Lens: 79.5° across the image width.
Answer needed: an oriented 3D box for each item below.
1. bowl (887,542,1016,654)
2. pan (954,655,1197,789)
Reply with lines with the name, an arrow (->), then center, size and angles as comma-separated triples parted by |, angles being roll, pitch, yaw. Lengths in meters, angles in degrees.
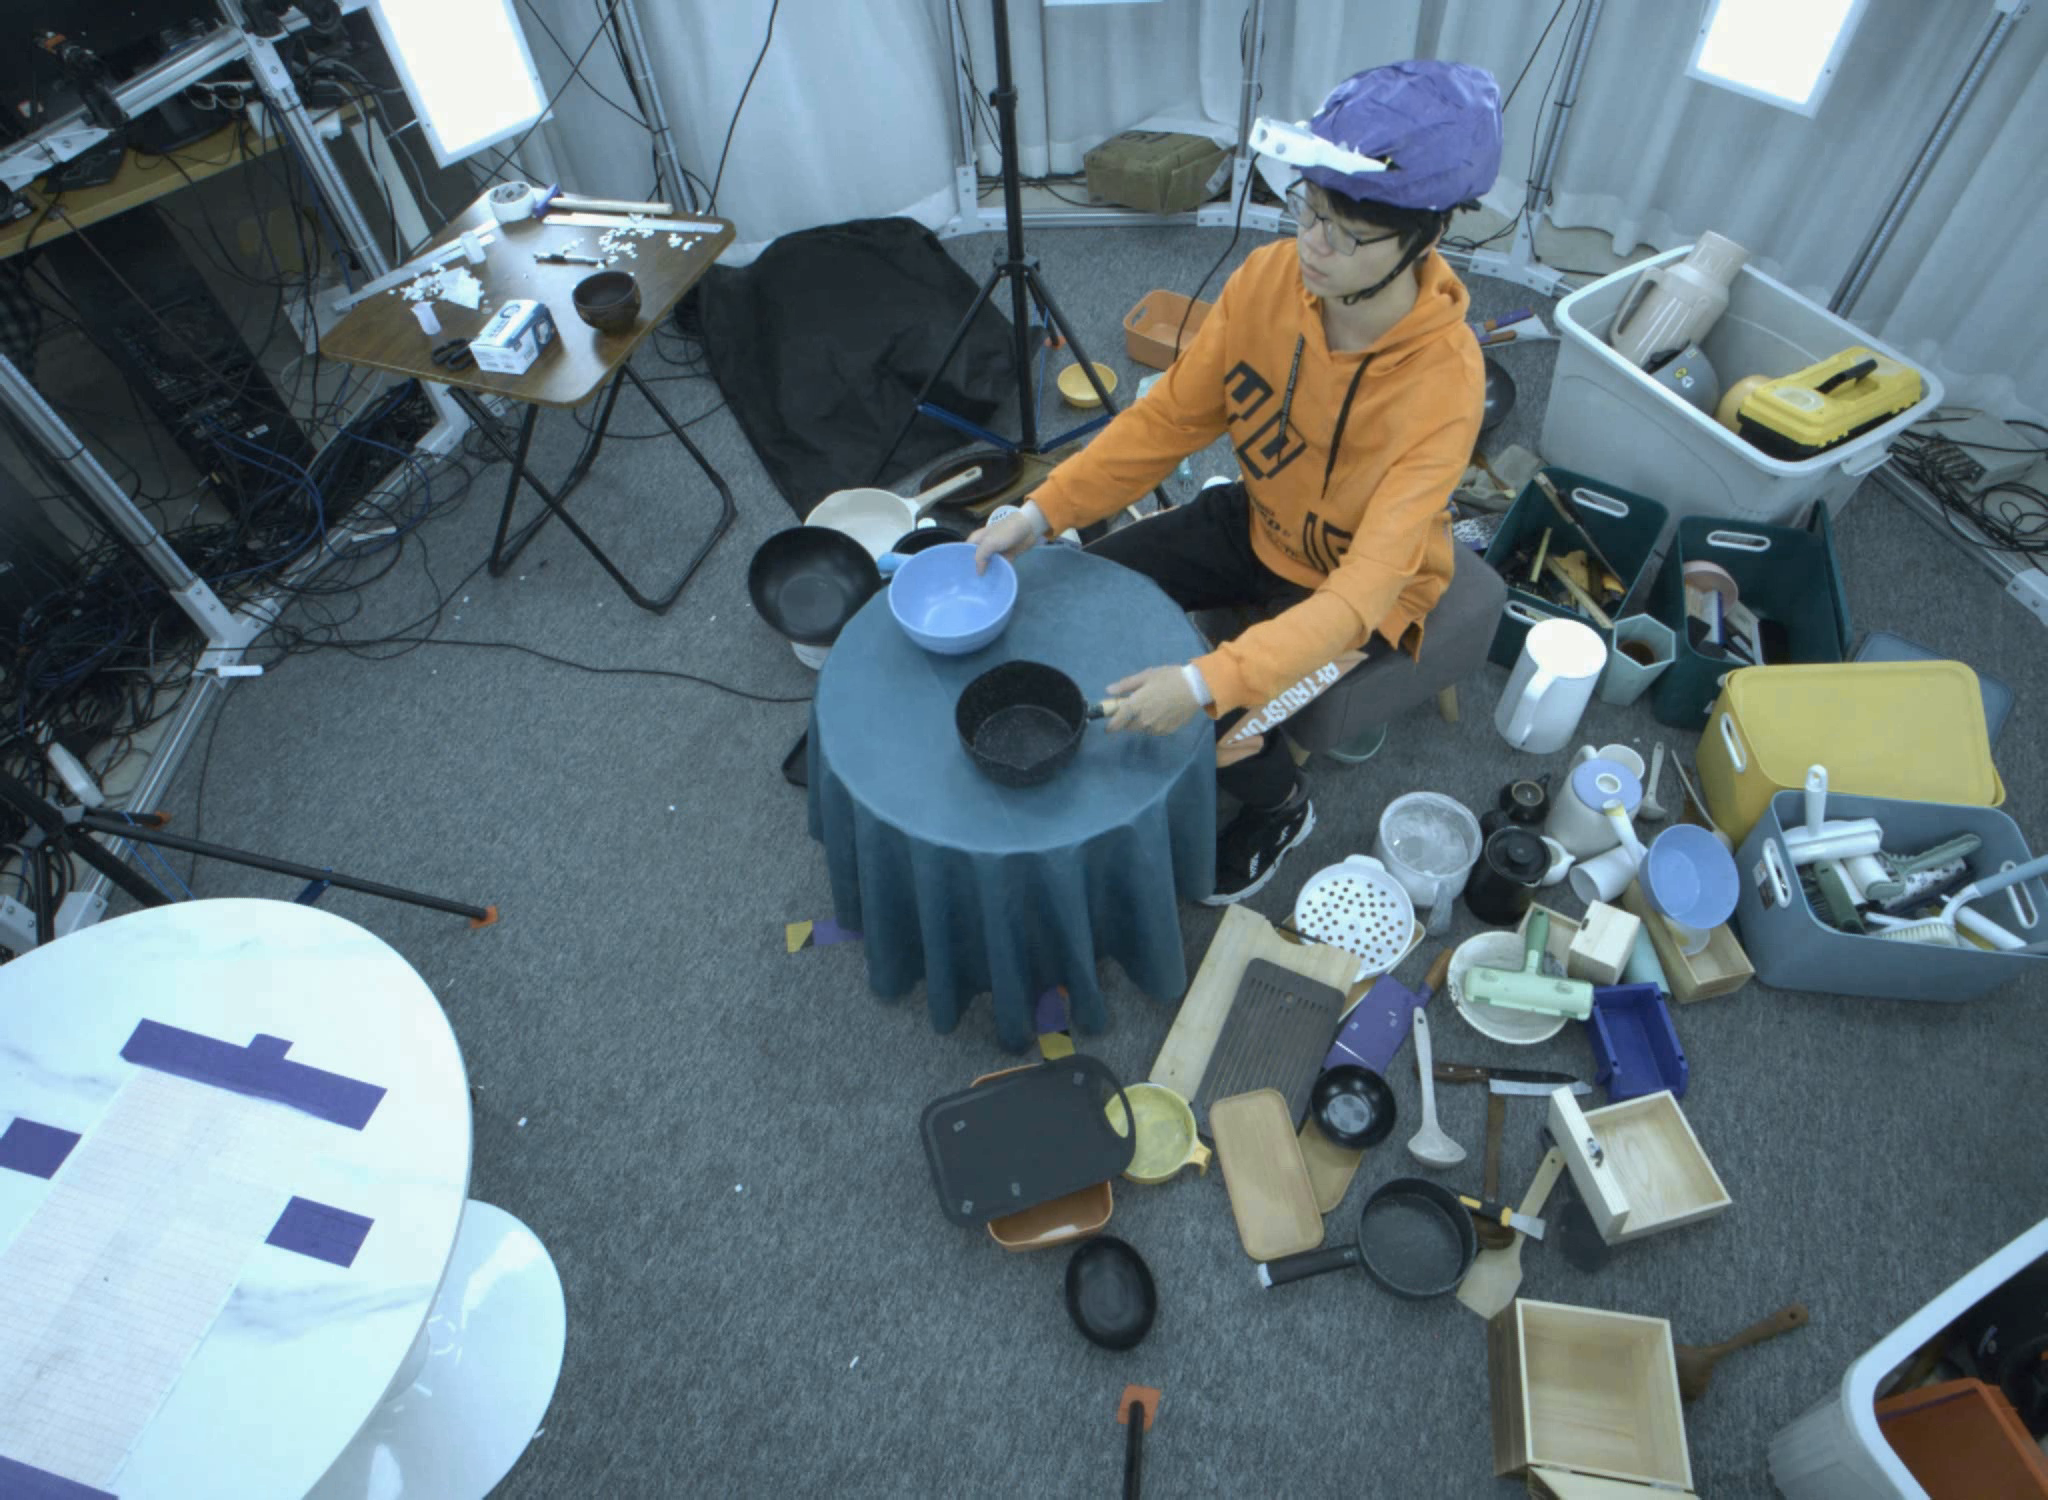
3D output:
bowl -> -0.106, -0.219, 1.886 | 0.196, 0.096, 0.194 | -1, 55, 3
pan -> 0.074, -0.046, 1.750 | 0.343, 0.109, 0.204 | -7, 53, -1
